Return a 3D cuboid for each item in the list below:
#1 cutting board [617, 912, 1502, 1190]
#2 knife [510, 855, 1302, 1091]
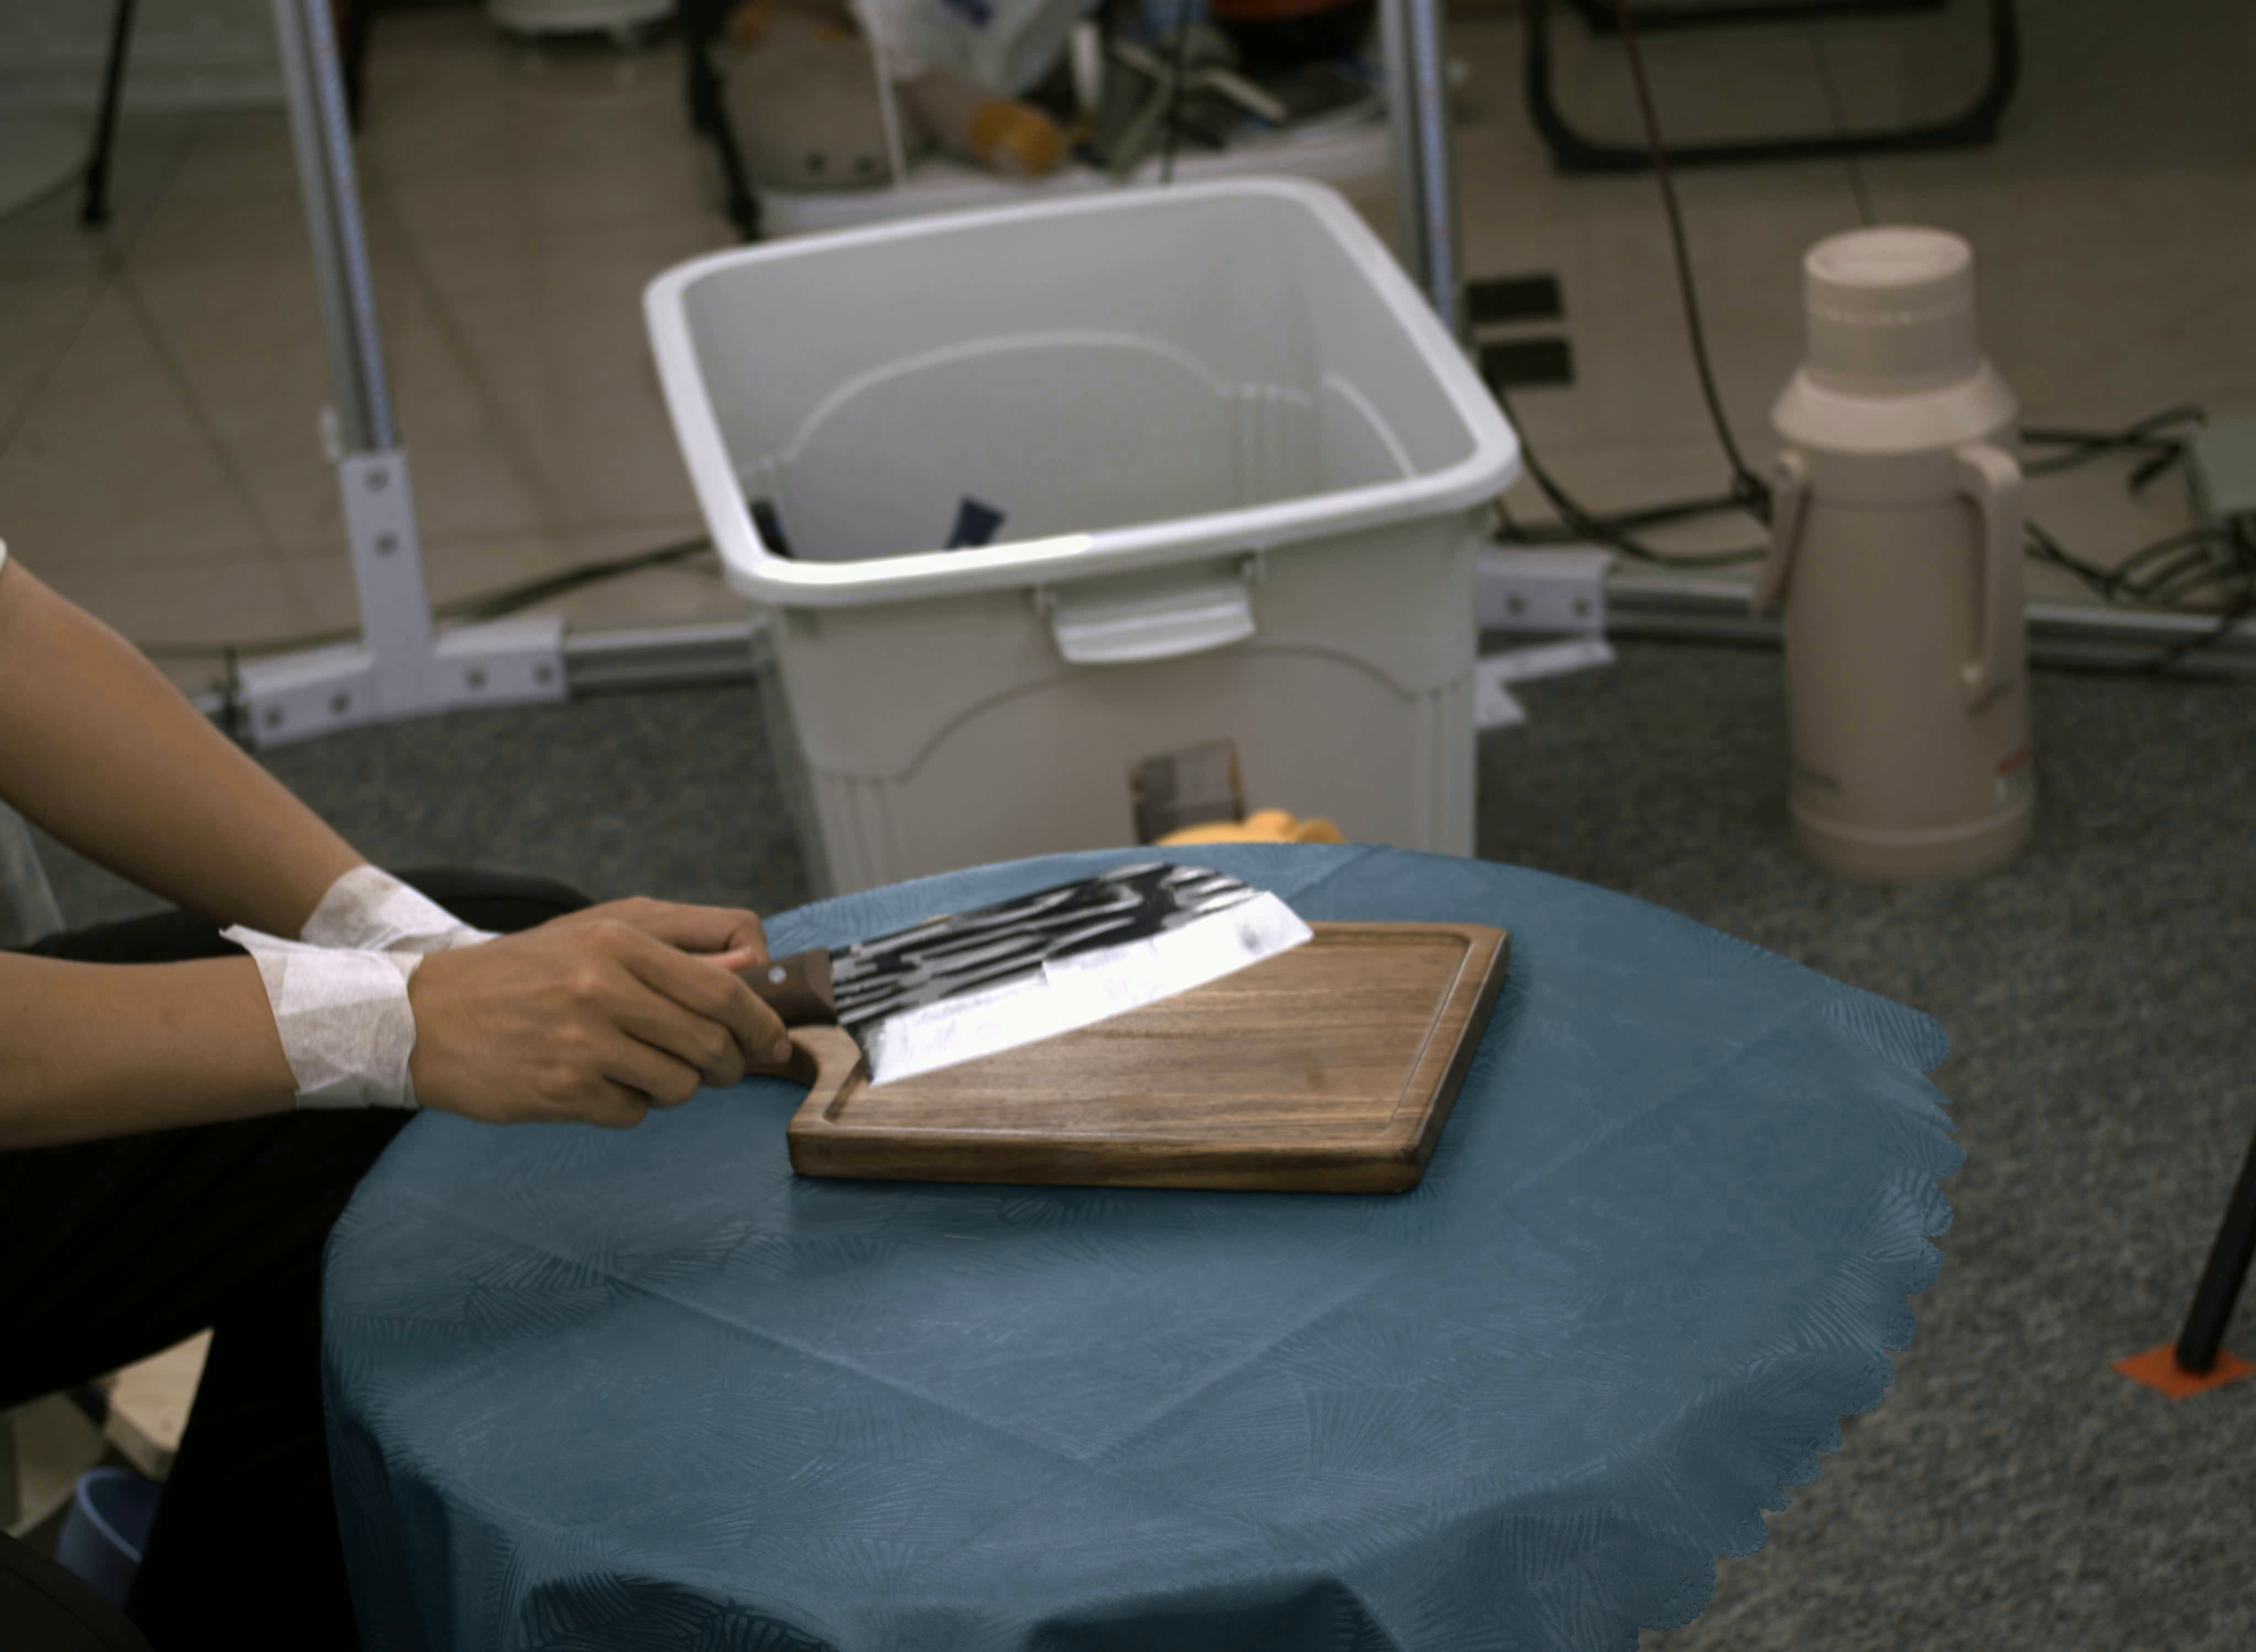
[{"bbox_3d":[-0.039,0.085,2.251,0.351,0.023,0.198,1,26,16],"label":"cutting board"},{"bbox_3d":[-0.082,0.061,2.133,0.299,0.024,0.067,-15,52,-9],"label":"knife"}]
